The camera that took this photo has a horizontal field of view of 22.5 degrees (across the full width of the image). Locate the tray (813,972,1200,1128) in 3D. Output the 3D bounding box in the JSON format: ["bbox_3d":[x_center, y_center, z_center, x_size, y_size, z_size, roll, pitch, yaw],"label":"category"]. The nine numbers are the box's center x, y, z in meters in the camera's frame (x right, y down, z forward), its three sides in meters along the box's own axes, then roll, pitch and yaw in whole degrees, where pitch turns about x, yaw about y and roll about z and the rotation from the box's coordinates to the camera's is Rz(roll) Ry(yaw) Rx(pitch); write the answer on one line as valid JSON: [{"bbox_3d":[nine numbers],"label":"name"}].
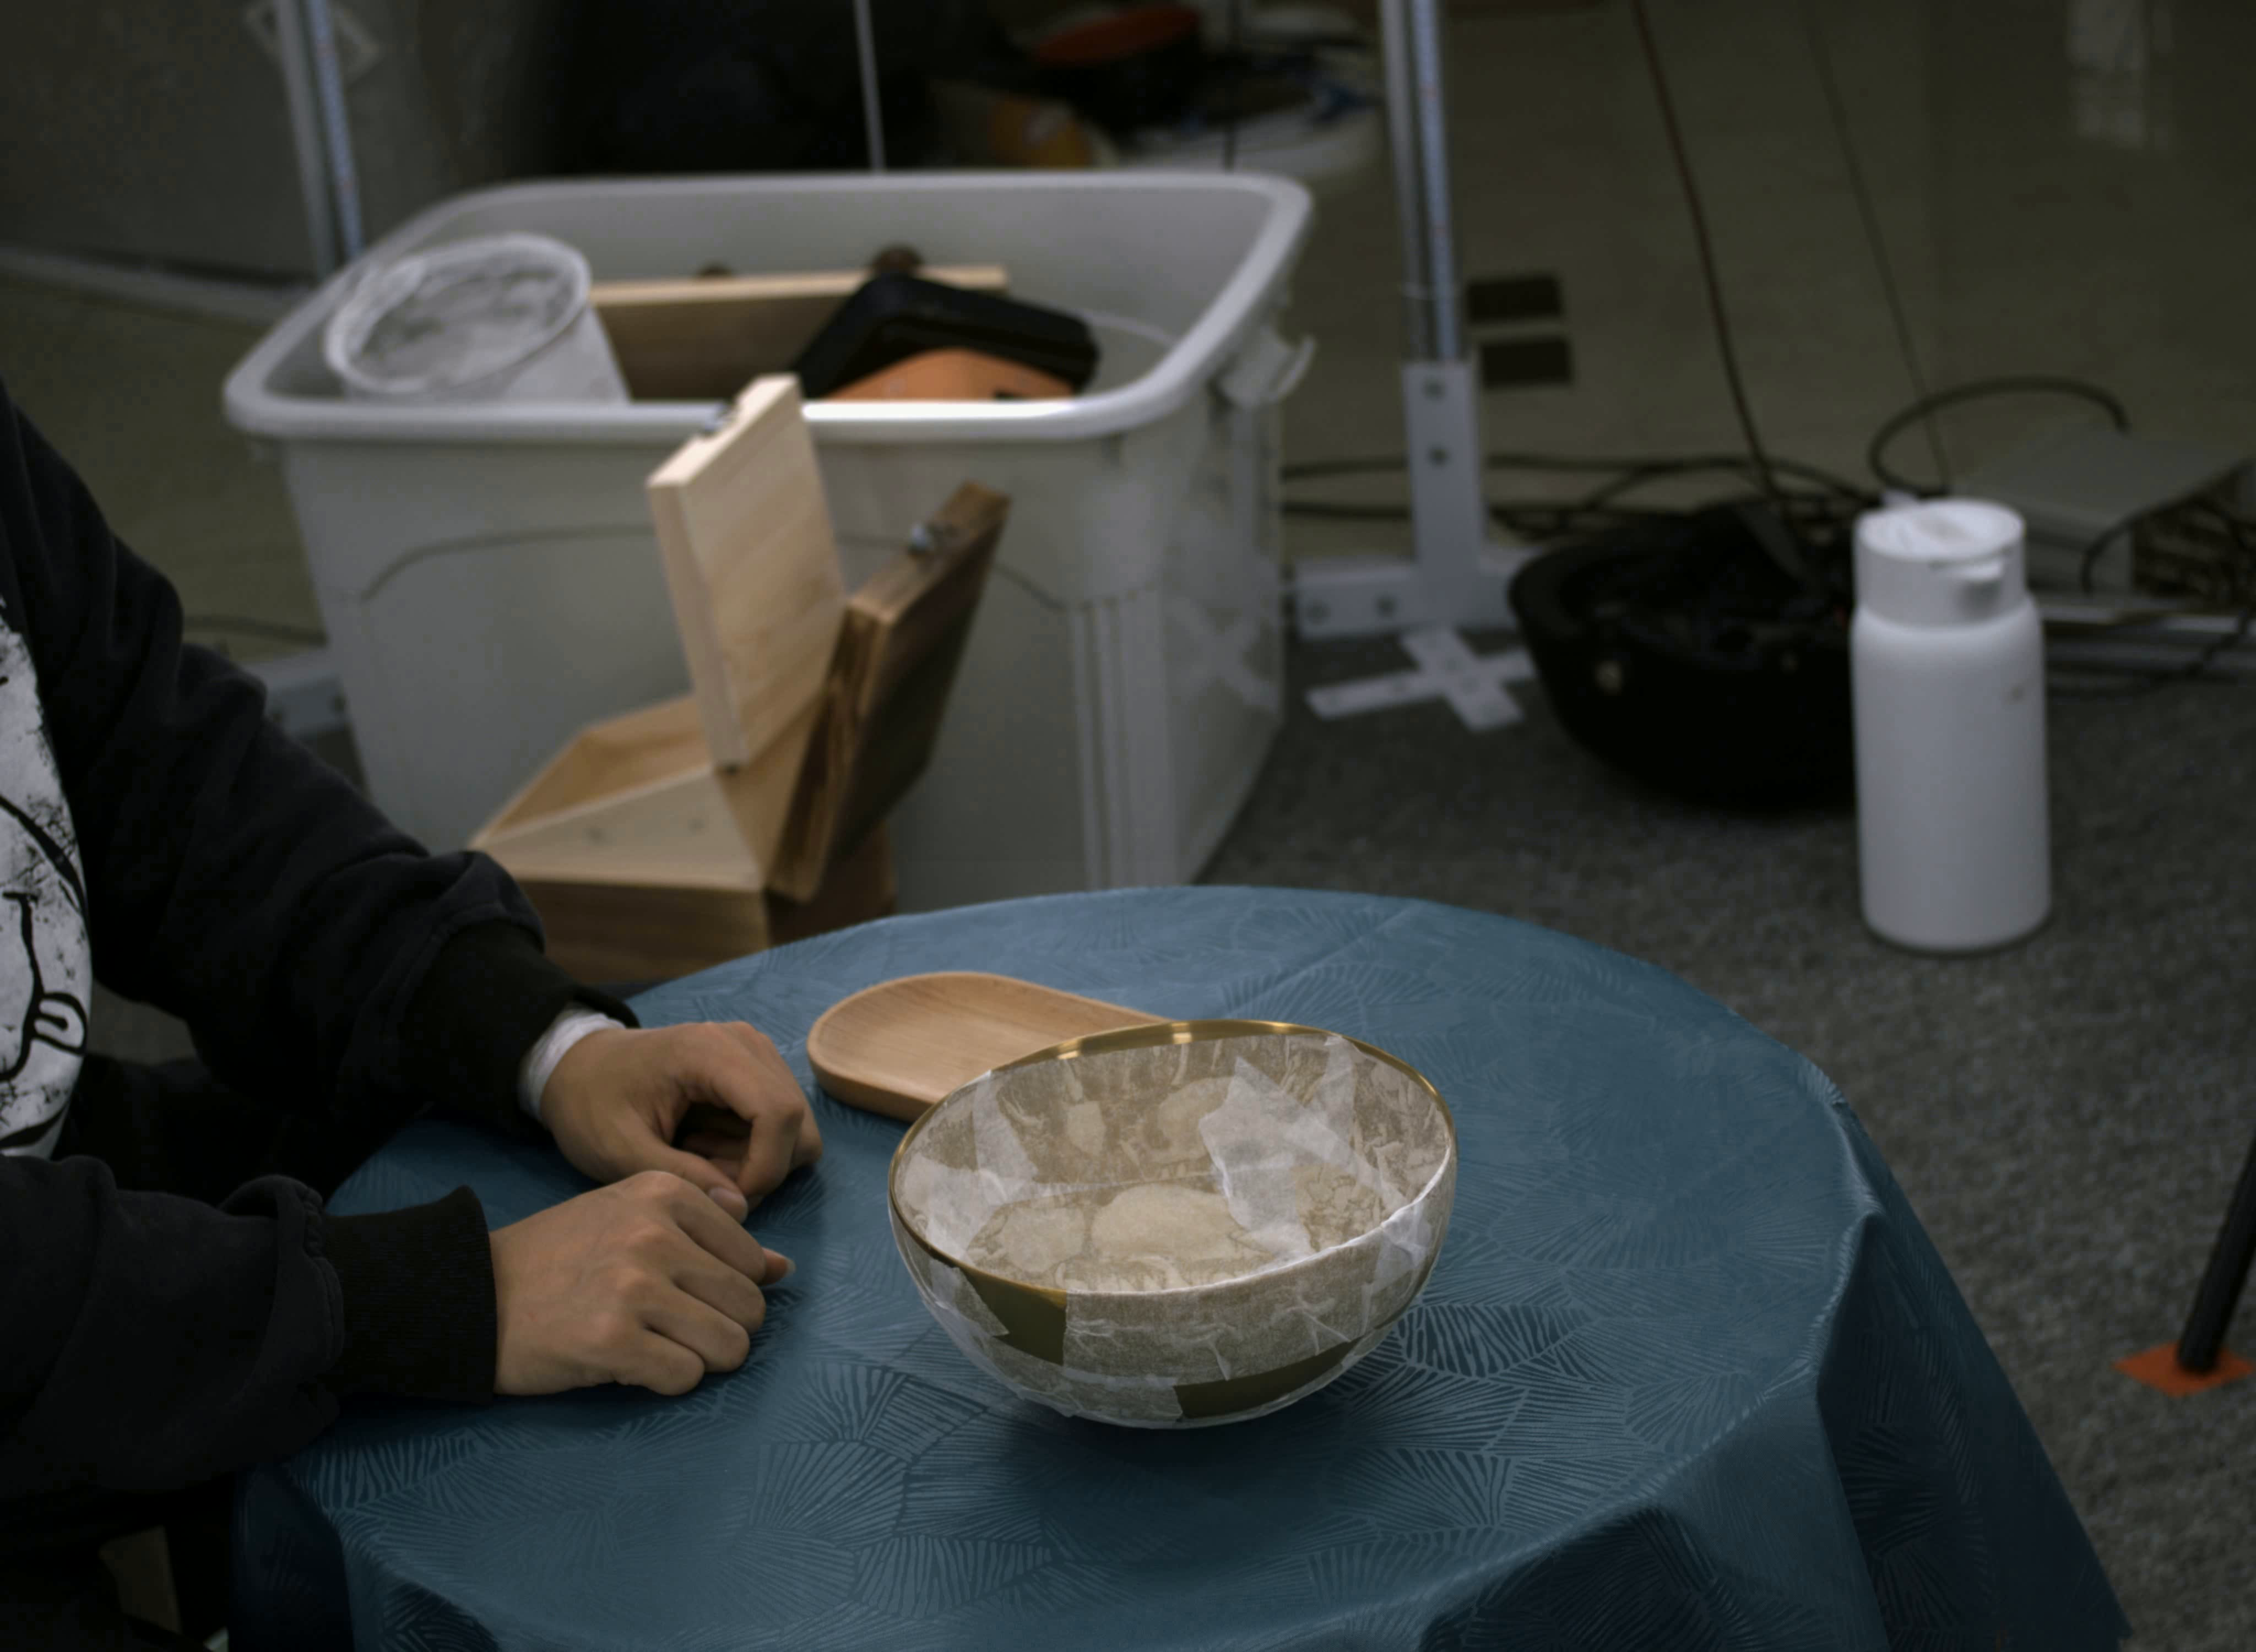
[{"bbox_3d":[-0.023,0.100,2.224,0.230,0.020,0.100,15,35,34],"label":"tray"}]

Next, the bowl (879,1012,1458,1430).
[{"bbox_3d":[0.019,0.151,2.010,0.214,0.096,0.211,-6,26,3],"label":"bowl"}]
